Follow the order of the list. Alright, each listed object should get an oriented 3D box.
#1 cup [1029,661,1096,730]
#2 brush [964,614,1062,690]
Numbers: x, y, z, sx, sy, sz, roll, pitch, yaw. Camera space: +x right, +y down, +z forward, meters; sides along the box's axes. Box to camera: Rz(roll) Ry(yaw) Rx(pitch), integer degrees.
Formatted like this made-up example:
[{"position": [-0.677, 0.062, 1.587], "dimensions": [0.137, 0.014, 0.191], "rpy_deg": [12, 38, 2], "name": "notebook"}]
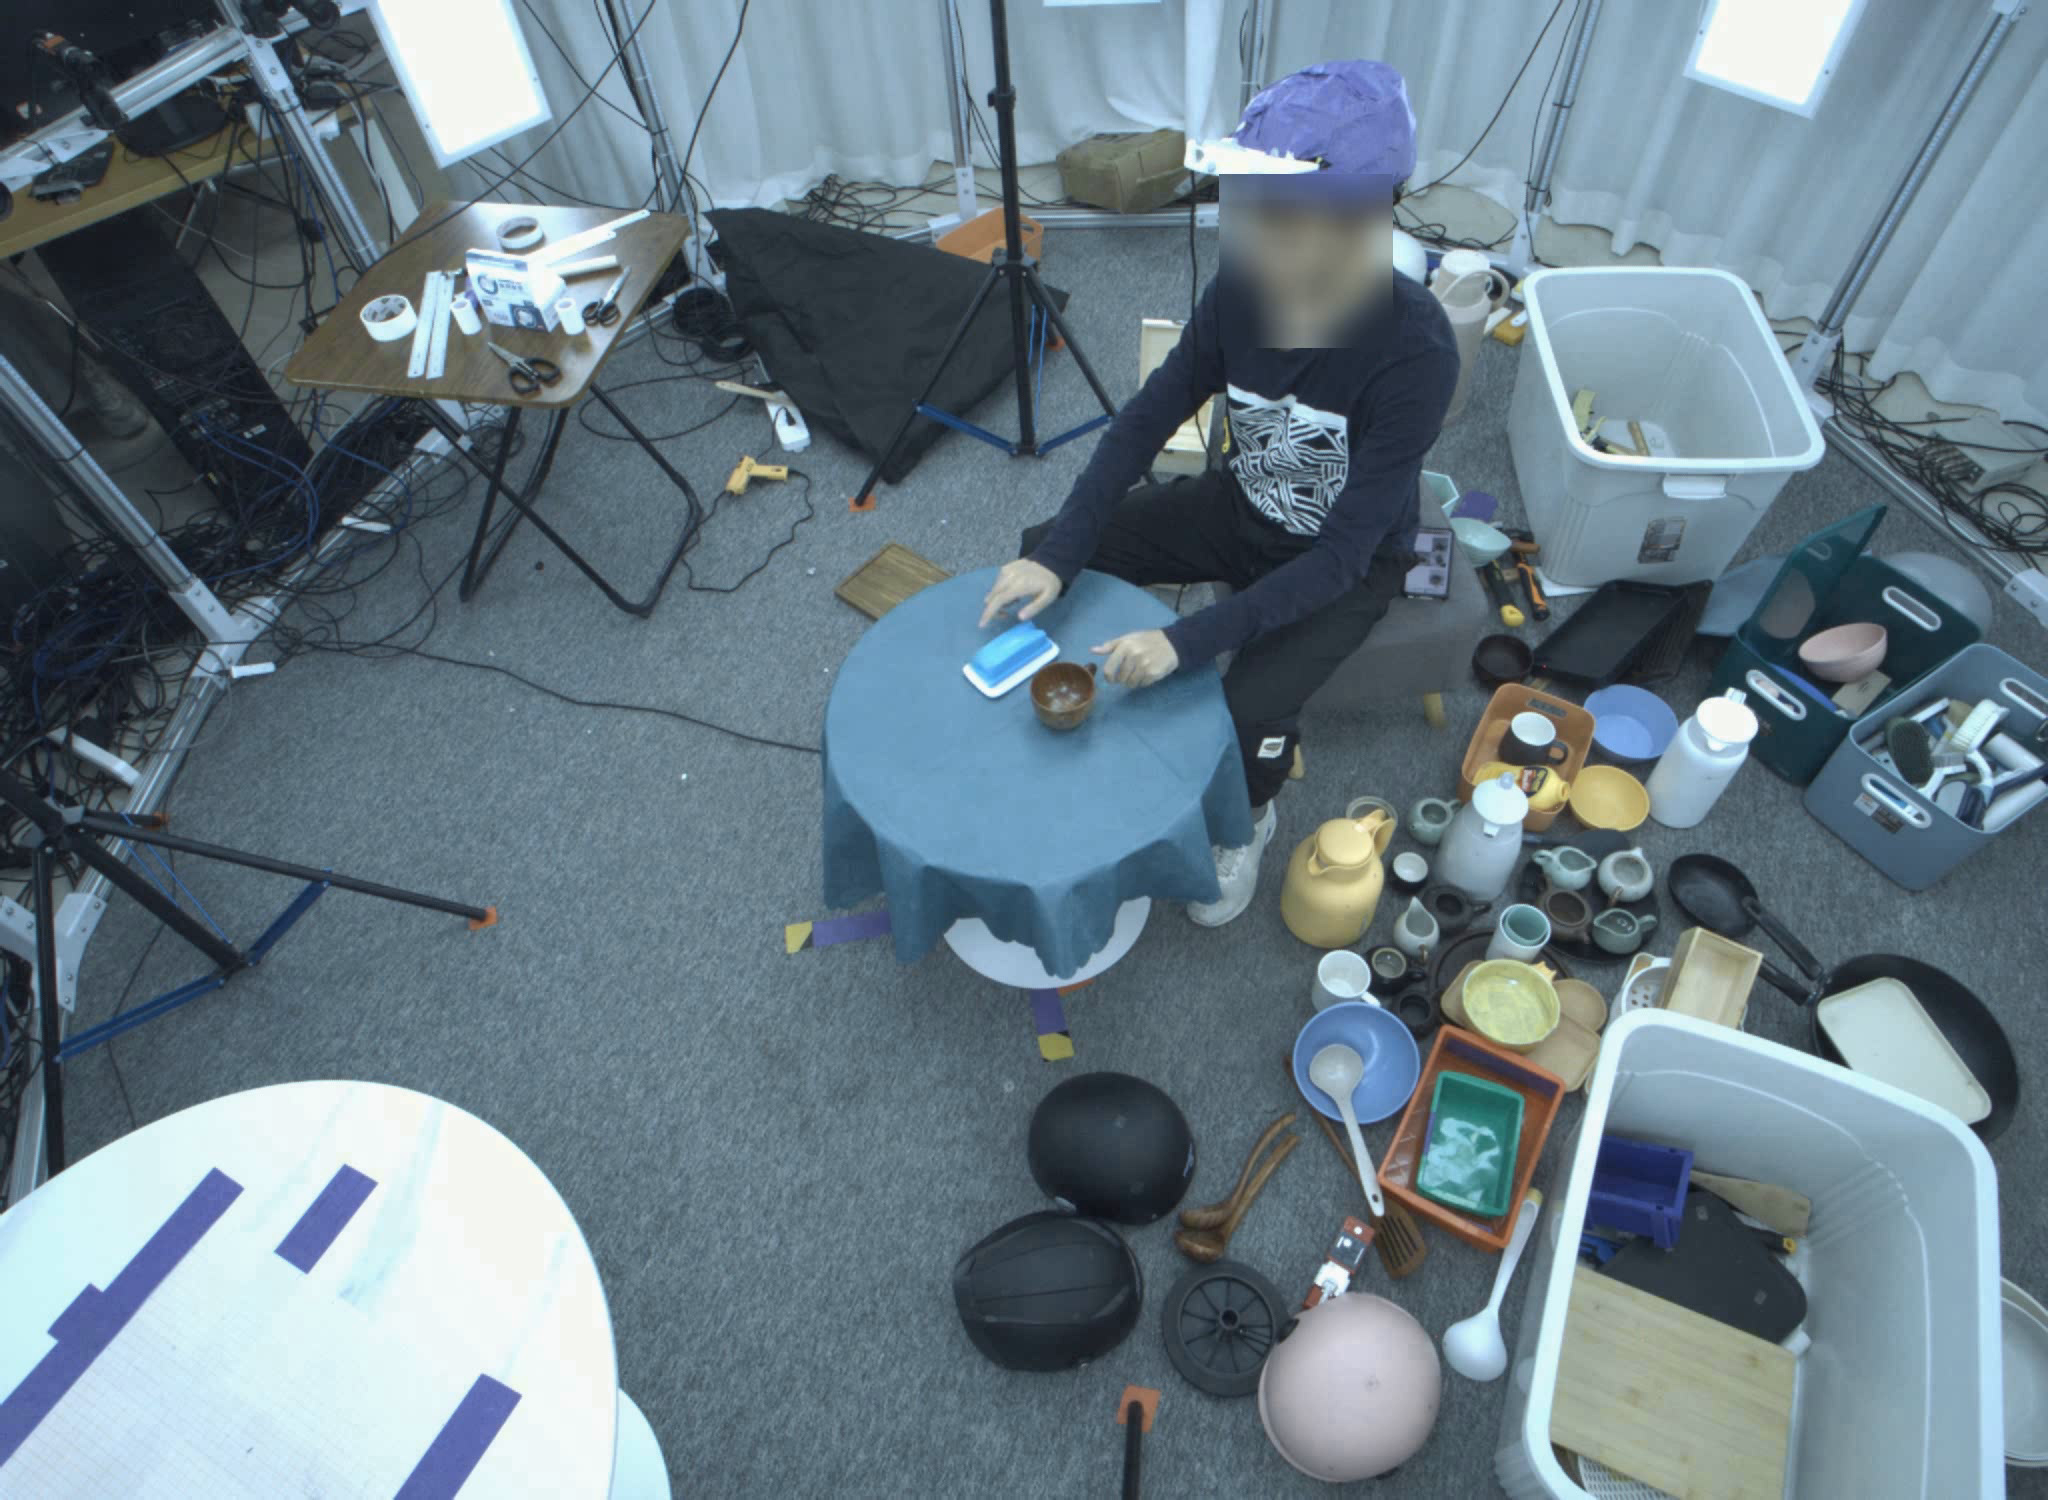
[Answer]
[{"position": [0.066, -0.080, 1.794], "dimensions": [0.094, 0.068, 0.120], "rpy_deg": [32, 60, 27], "name": "cup"}, {"position": [-0.017, -0.155, 1.854], "dimensions": [0.145, 0.056, 0.082], "rpy_deg": [-35, 63, -18], "name": "brush"}]
